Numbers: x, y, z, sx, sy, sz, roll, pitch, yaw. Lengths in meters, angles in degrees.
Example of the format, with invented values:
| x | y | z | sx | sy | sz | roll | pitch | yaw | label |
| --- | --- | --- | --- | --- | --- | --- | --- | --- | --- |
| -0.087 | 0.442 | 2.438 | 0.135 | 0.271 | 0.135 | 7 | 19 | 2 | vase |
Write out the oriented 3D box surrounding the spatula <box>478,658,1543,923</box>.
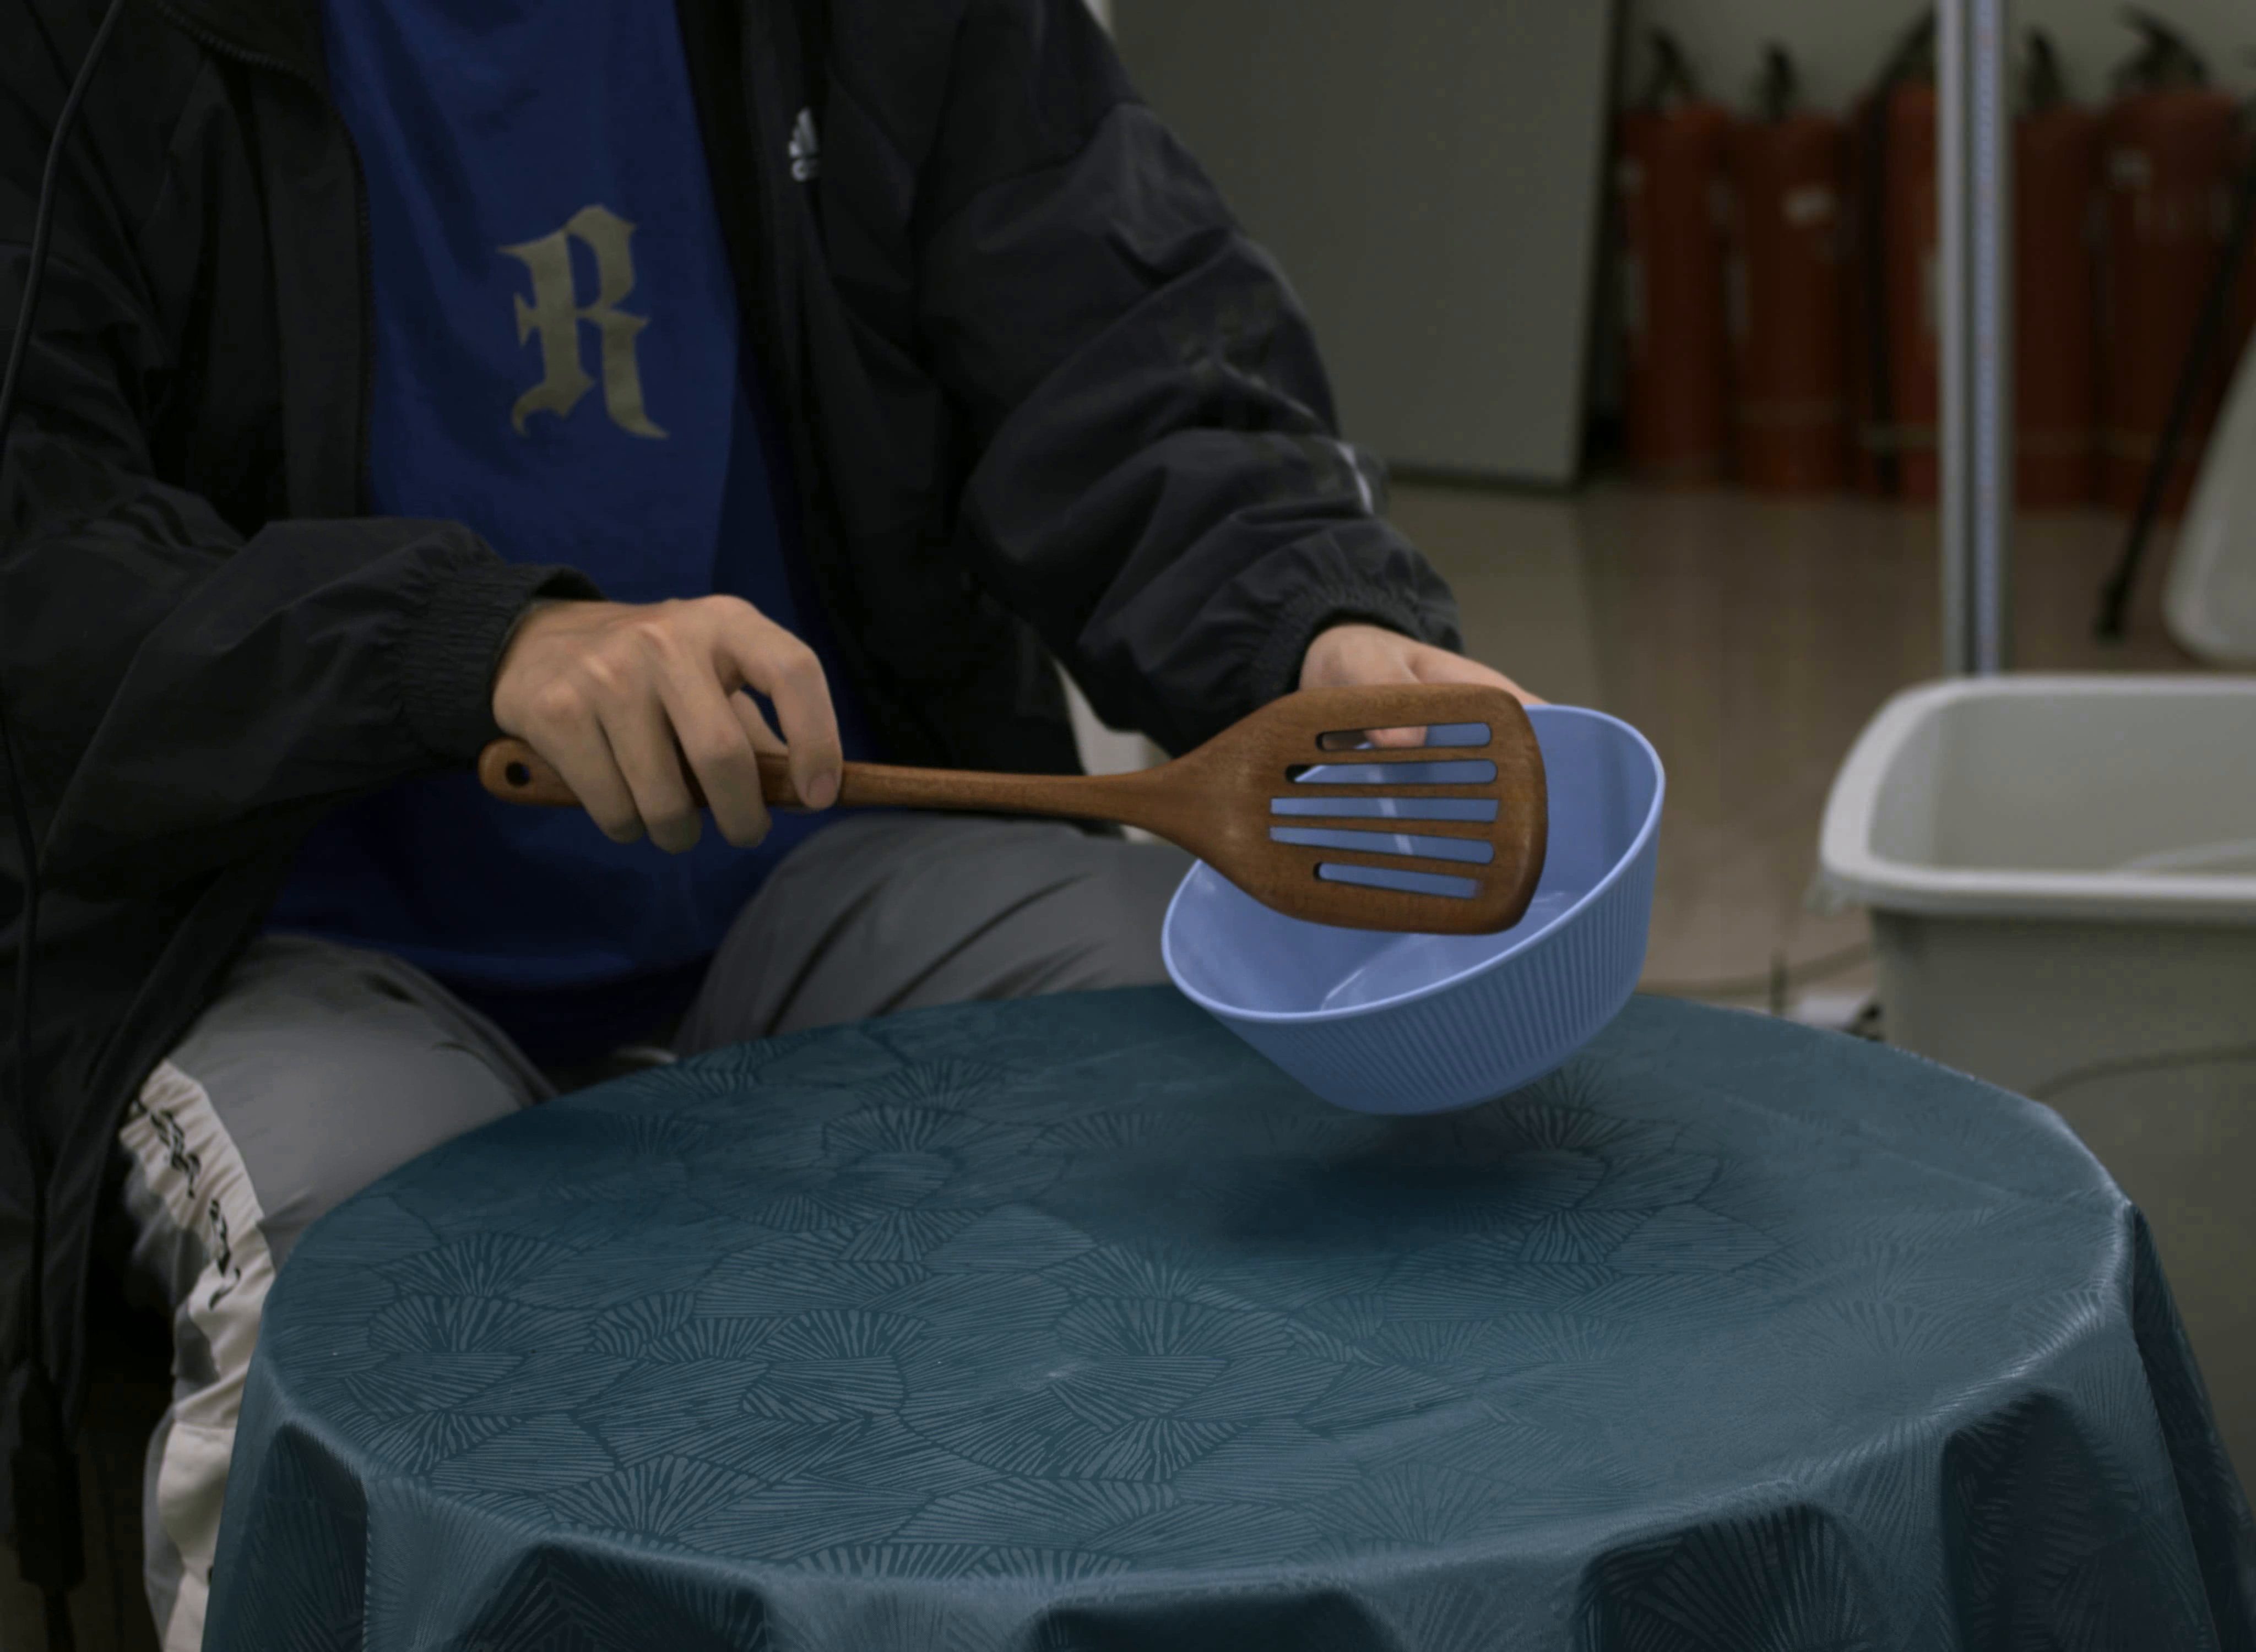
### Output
| x | y | z | sx | sy | sz | roll | pitch | yaw | label |
| --- | --- | --- | --- | --- | --- | --- | --- | --- | --- |
| -0.047 | -0.013 | 1.809 | 0.387 | 0.086 | 0.023 | 1 | 4 | 23 | spatula |

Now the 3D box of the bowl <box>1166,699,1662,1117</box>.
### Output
| x | y | z | sx | sy | sz | roll | pitch | yaw | label |
| --- | --- | --- | --- | --- | --- | --- | --- | --- | --- |
| 0.104 | 0.035 | 1.767 | 0.175 | 0.070 | 0.177 | -22 | 26 | 10 | bowl |
